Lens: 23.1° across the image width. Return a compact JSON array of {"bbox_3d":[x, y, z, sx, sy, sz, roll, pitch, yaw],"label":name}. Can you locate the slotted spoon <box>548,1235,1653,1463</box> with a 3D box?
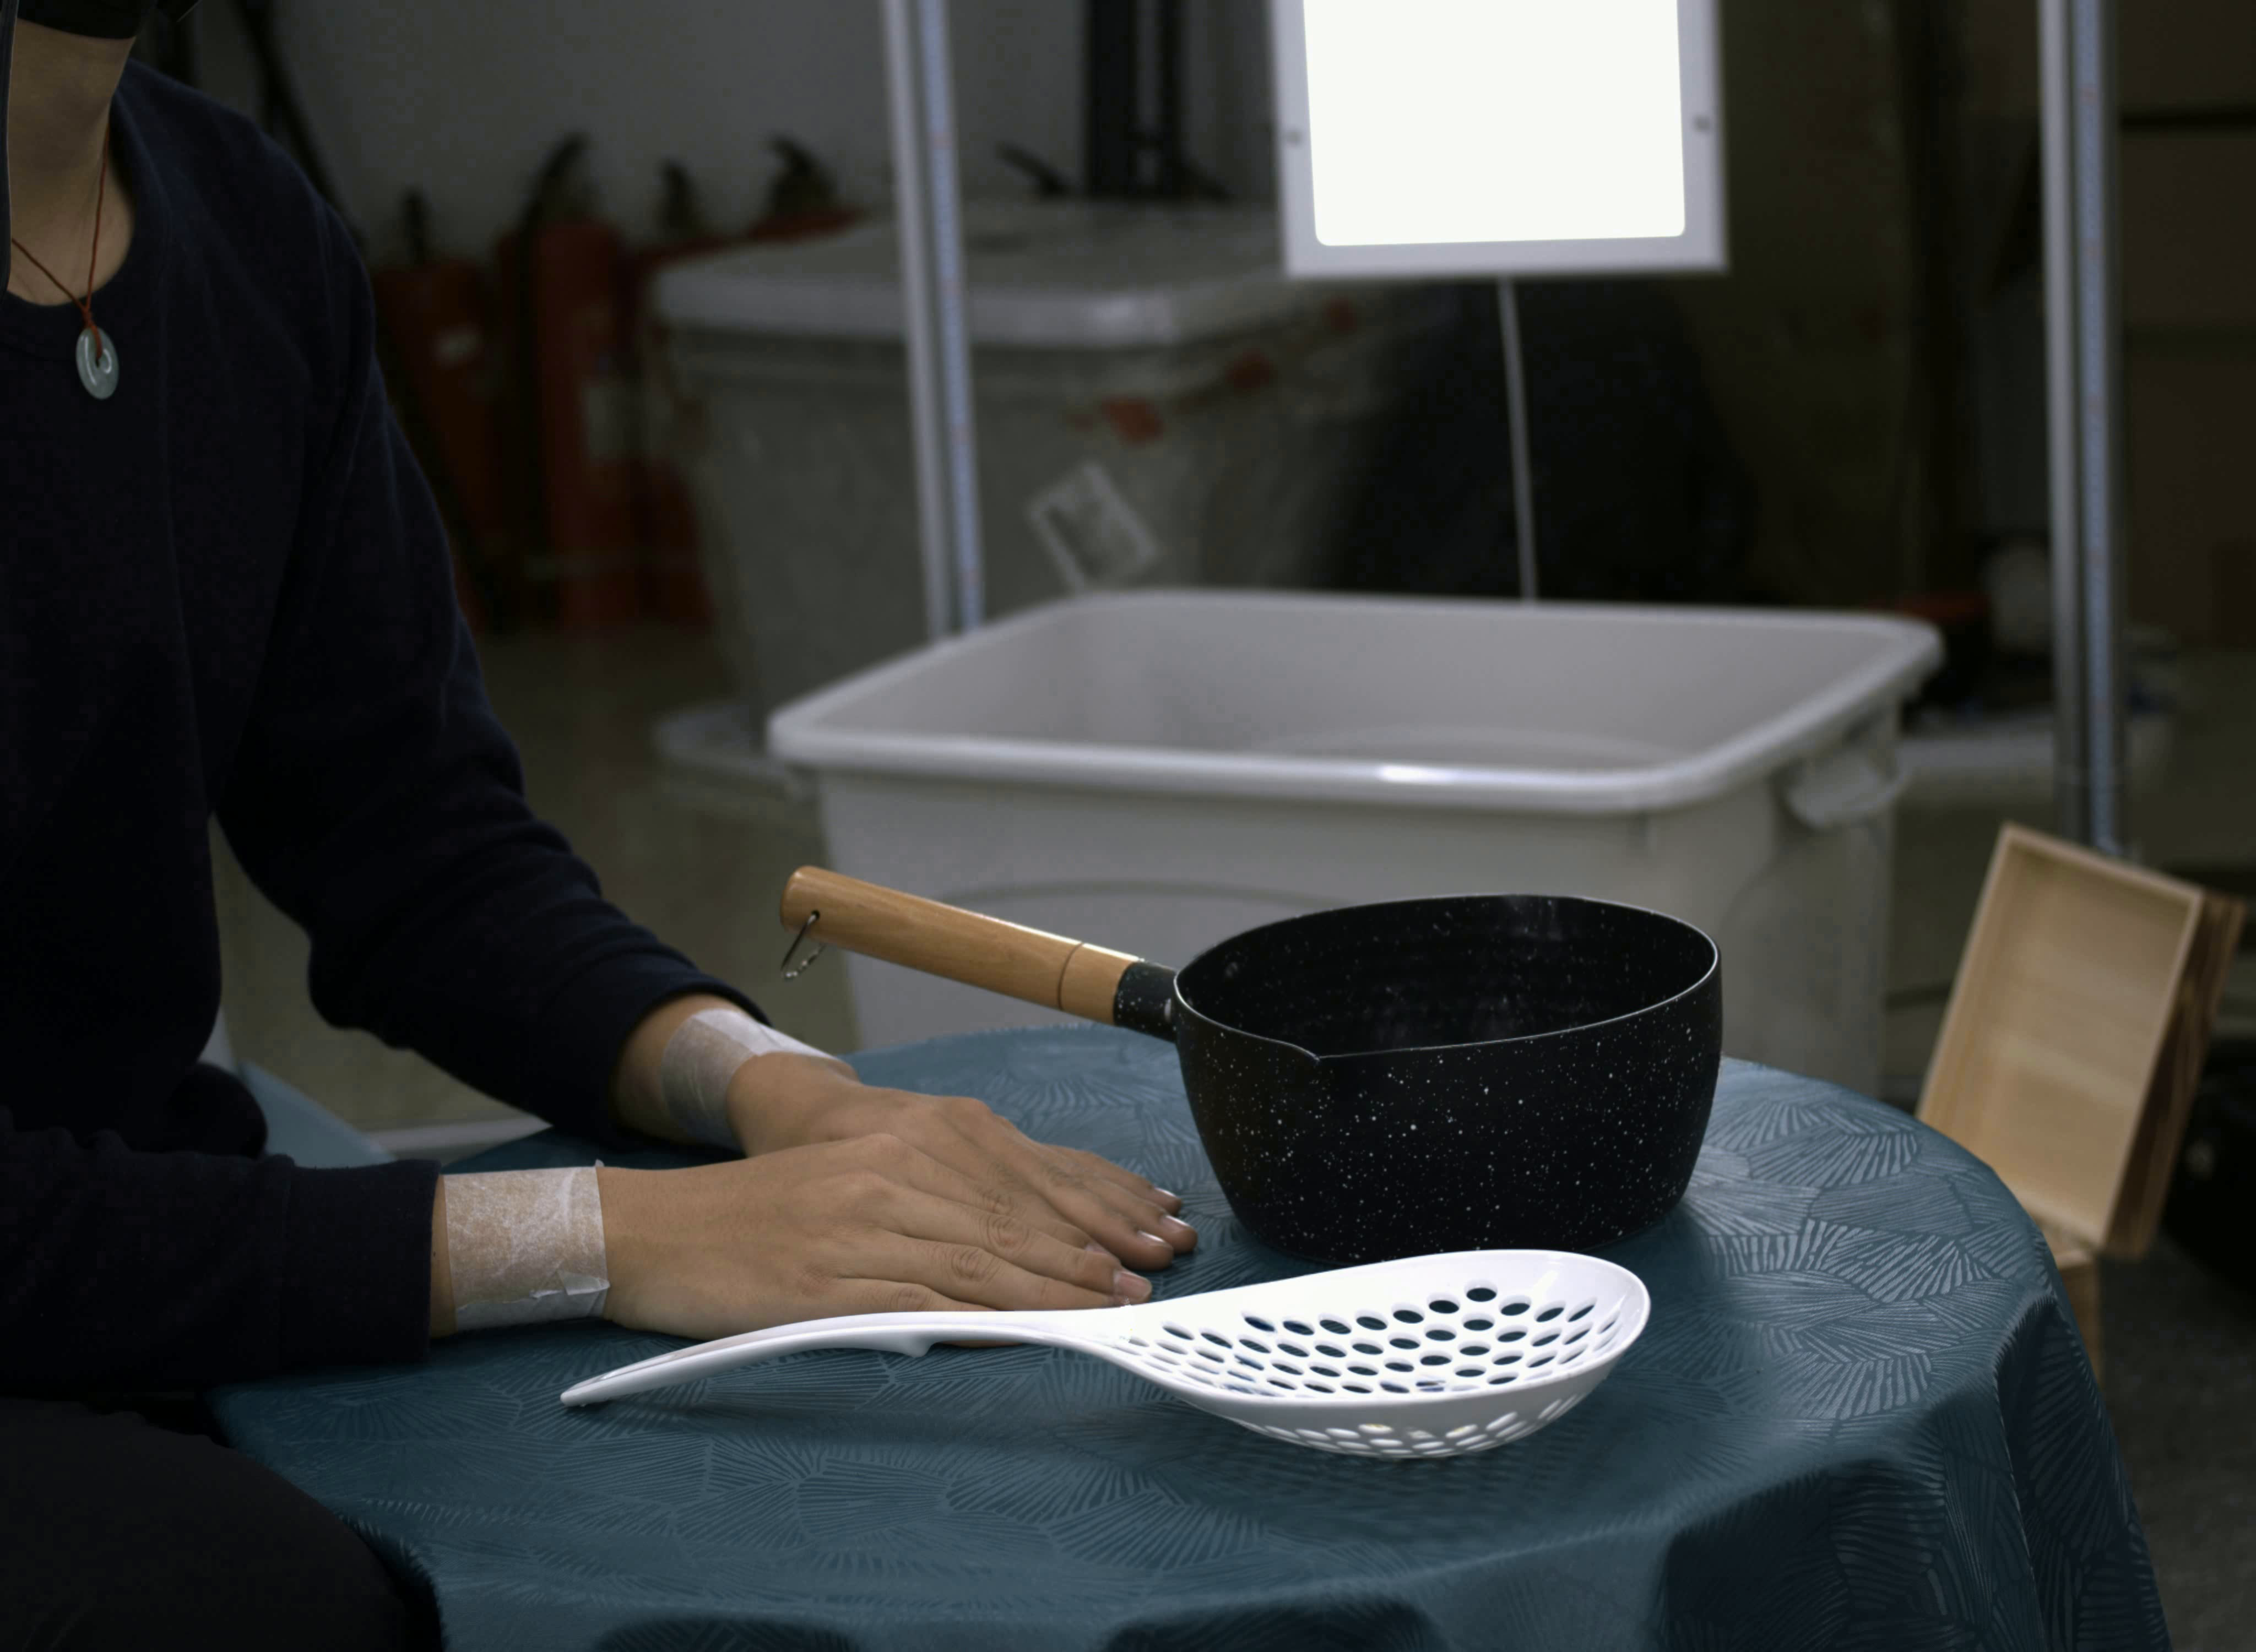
[{"bbox_3d":[-0.013,0.162,1.668,0.352,0.050,0.134,2,16,19],"label":"slotted spoon"}]

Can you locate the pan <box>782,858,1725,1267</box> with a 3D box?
[{"bbox_3d":[0.036,0.073,1.875,0.348,0.108,0.203,3,17,25],"label":"pan"}]
